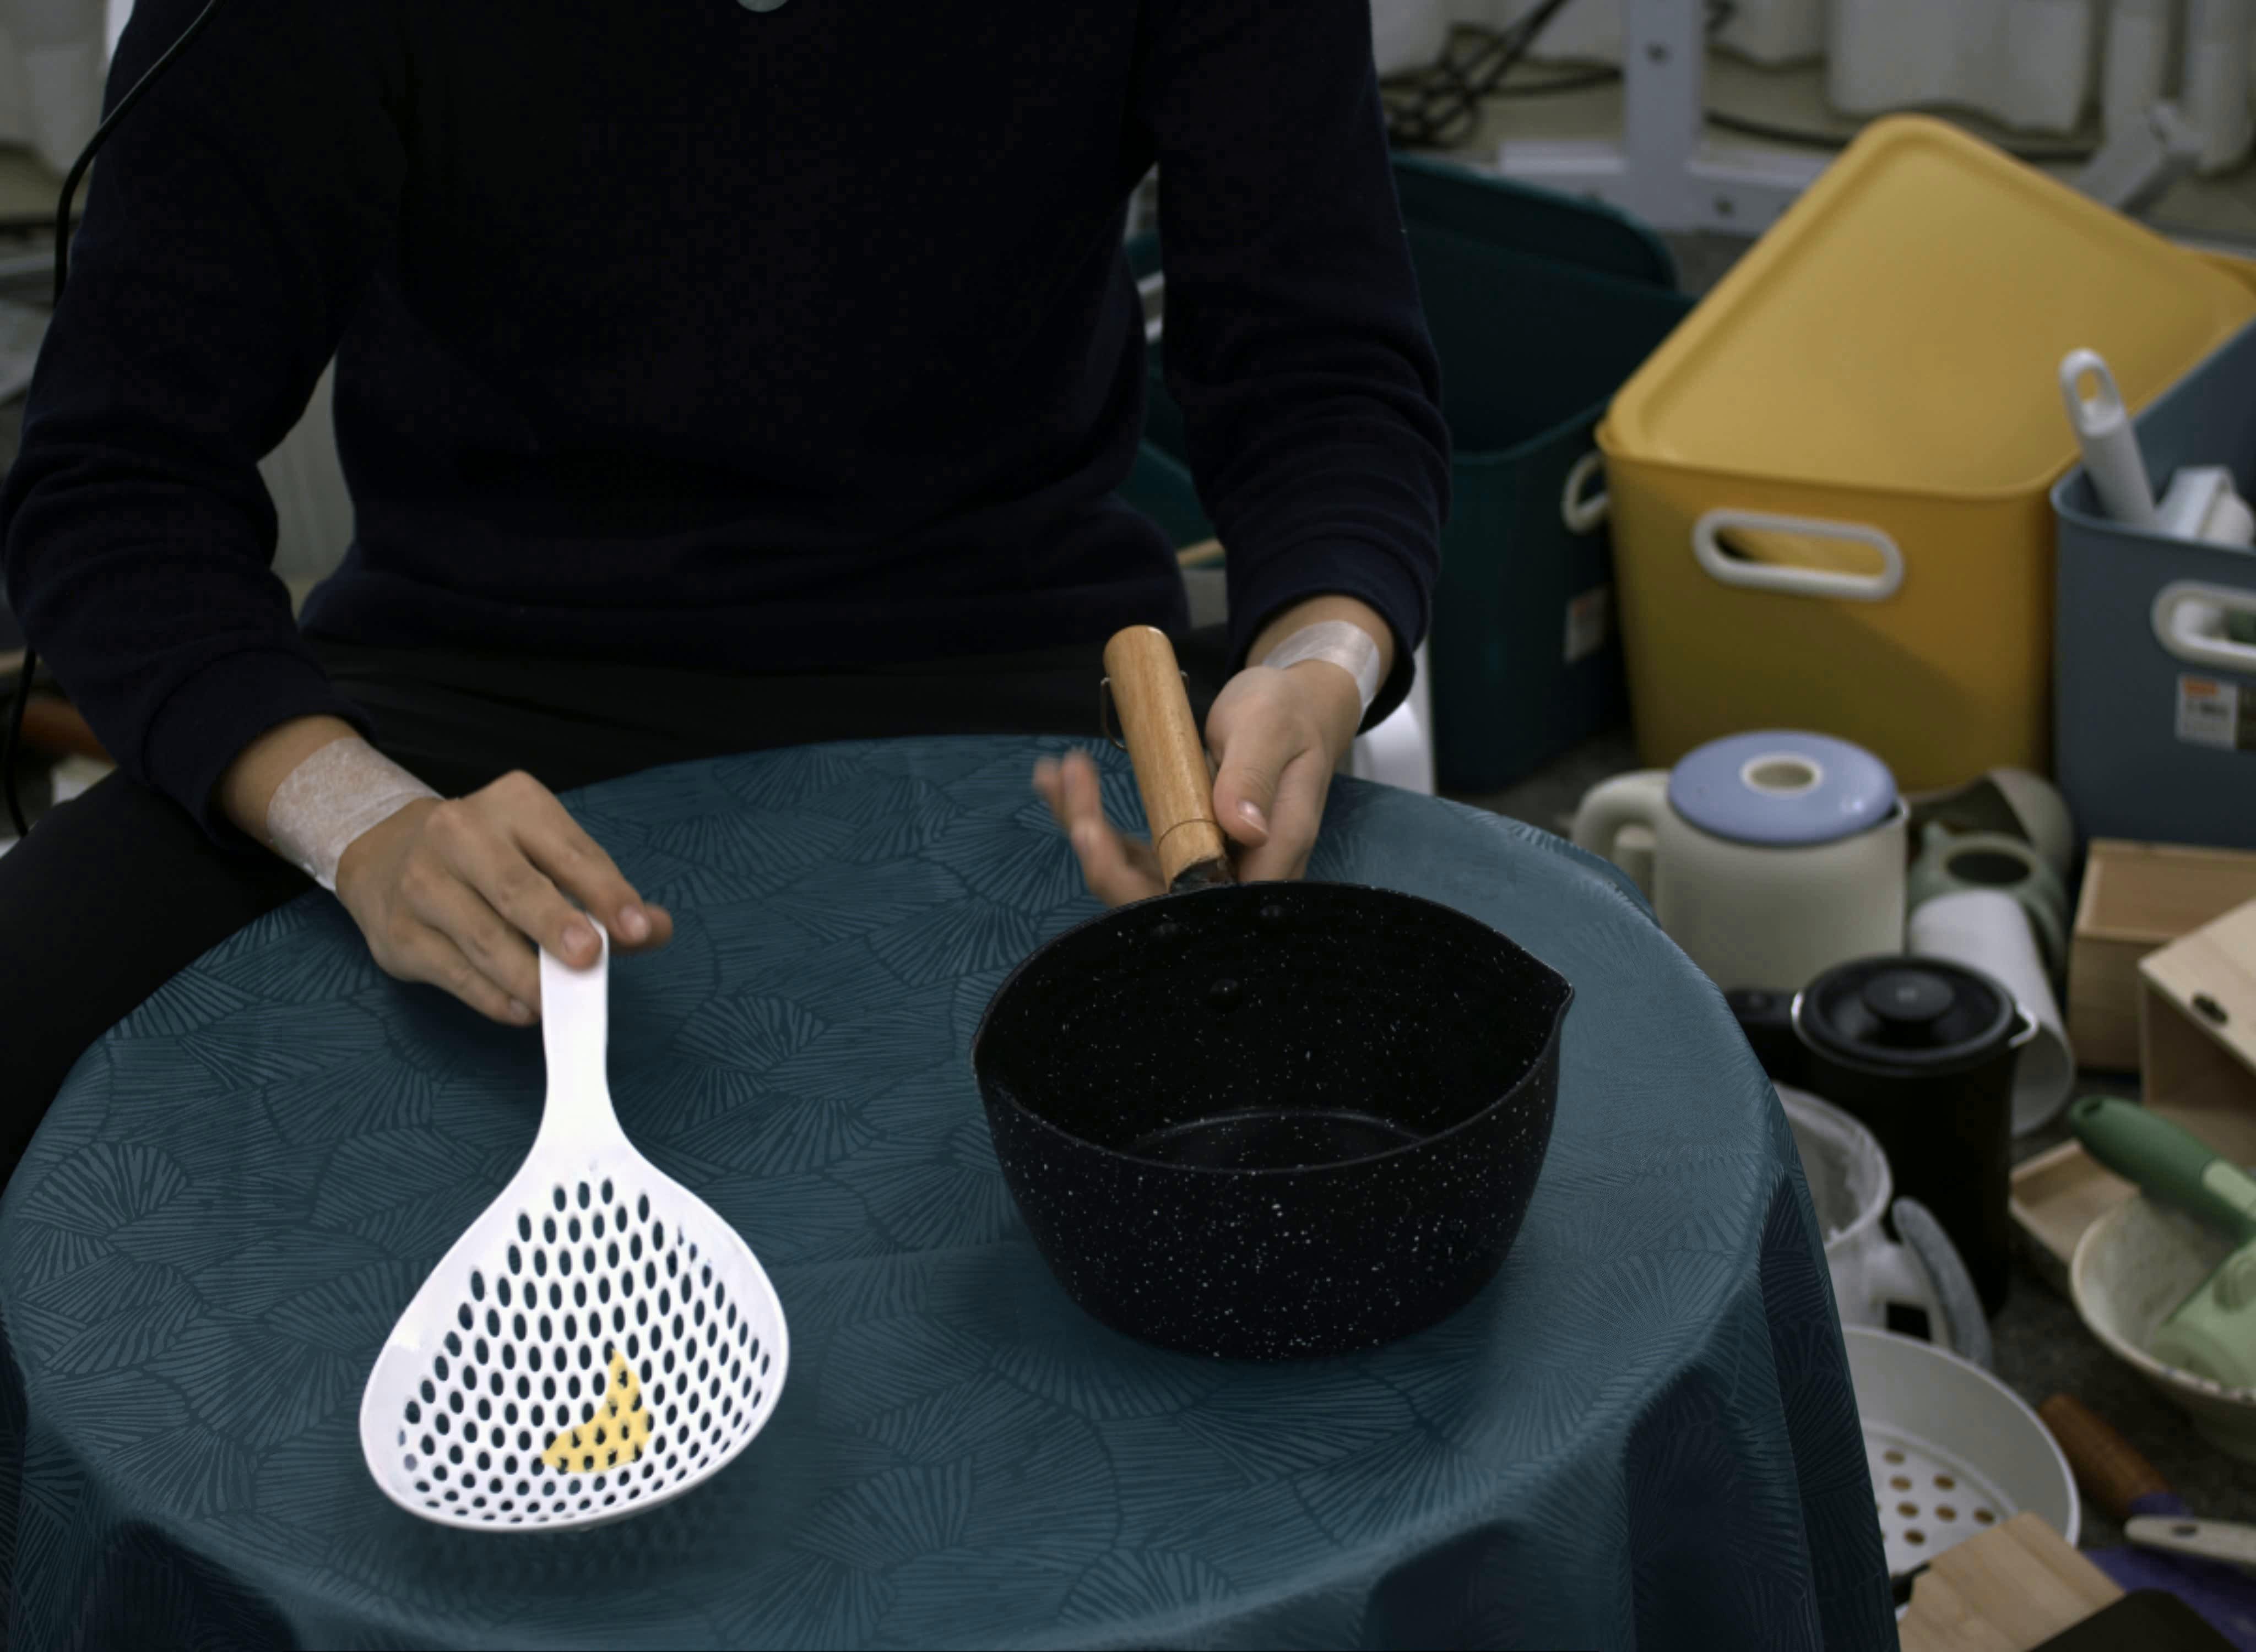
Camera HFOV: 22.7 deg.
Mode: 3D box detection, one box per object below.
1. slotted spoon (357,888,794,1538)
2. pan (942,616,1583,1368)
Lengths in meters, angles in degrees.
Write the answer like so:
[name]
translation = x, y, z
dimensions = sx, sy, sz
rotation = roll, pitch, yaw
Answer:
[slotted spoon]
translation = -0.178, 0.113, 1.807
dimensions = 0.136, 0.049, 0.354
rotation = -12, 39, 1
[pan]
translation = 0.032, 0.052, 1.877
dimensions = 0.207, 0.107, 0.347
rotation = -8, 29, -8
